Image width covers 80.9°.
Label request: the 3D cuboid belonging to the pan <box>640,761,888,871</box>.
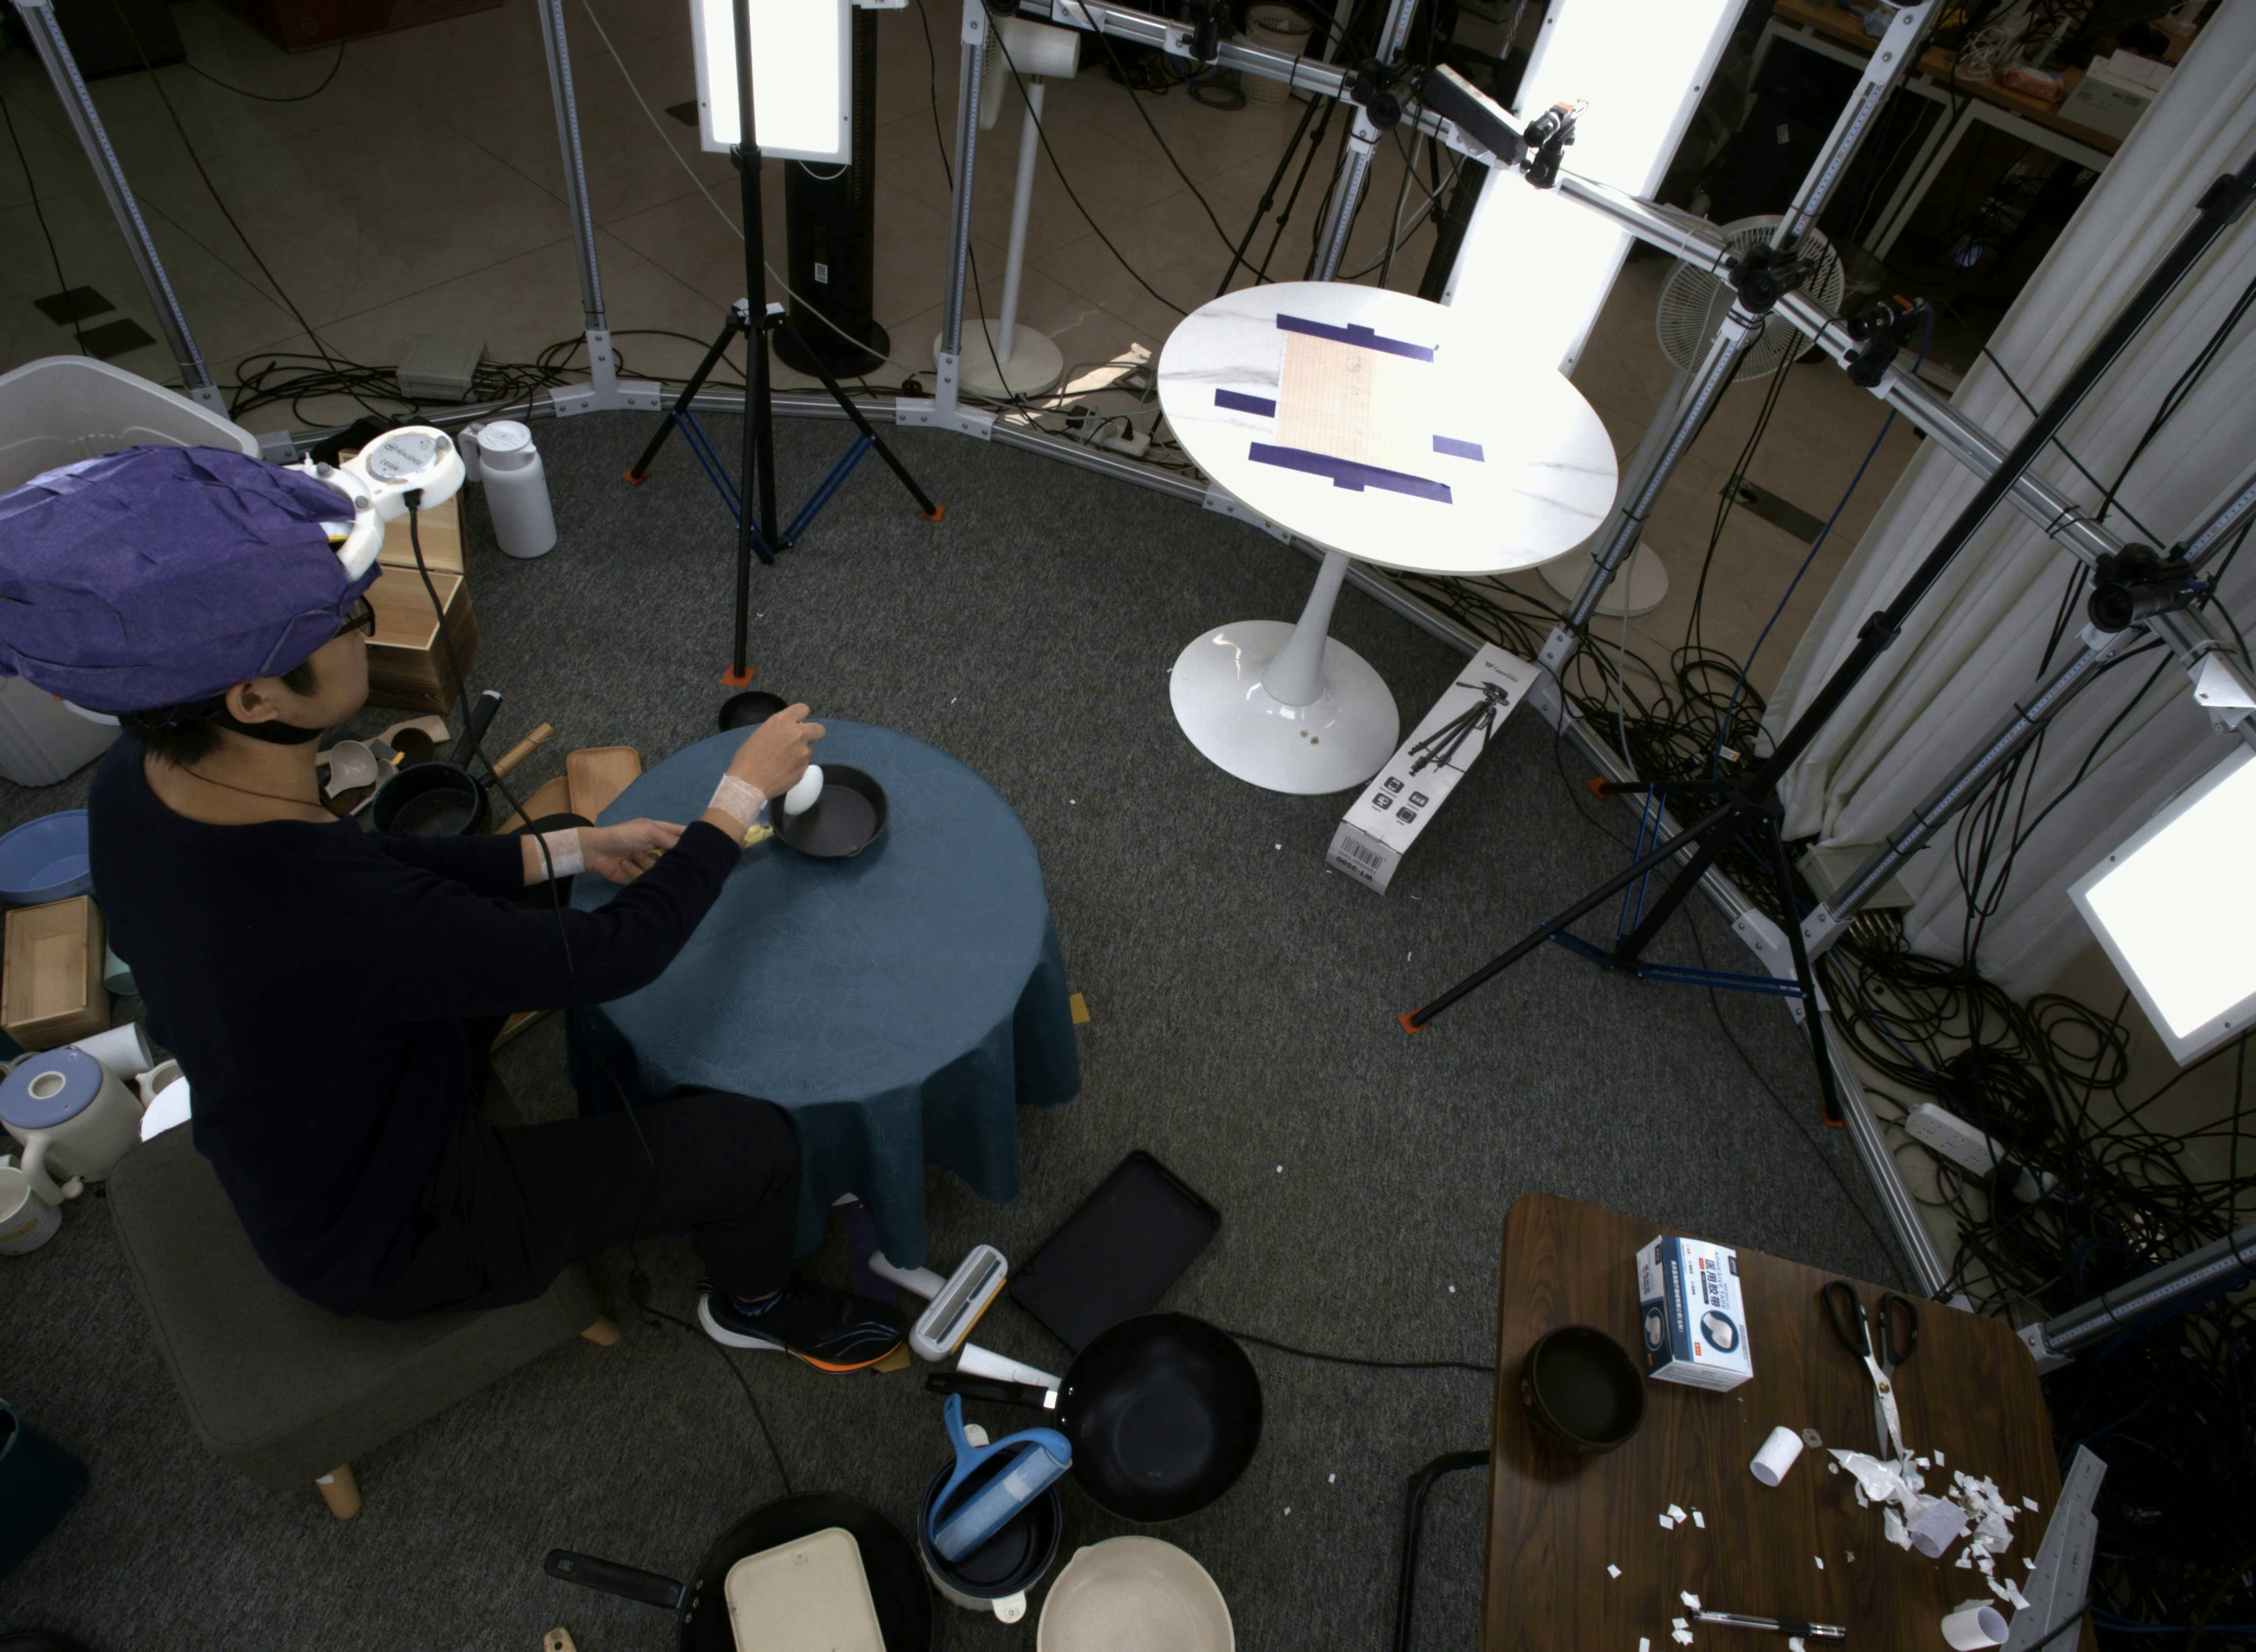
[{"bbox_3d":[-0.468,0.004,1.667,0.326,0.050,0.165,-18,60,-27],"label":"pan"}]

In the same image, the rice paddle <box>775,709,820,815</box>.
[{"bbox_3d":[-0.420,-0.077,1.635,0.029,0.209,0.069,36,63,12],"label":"rice paddle"}]
